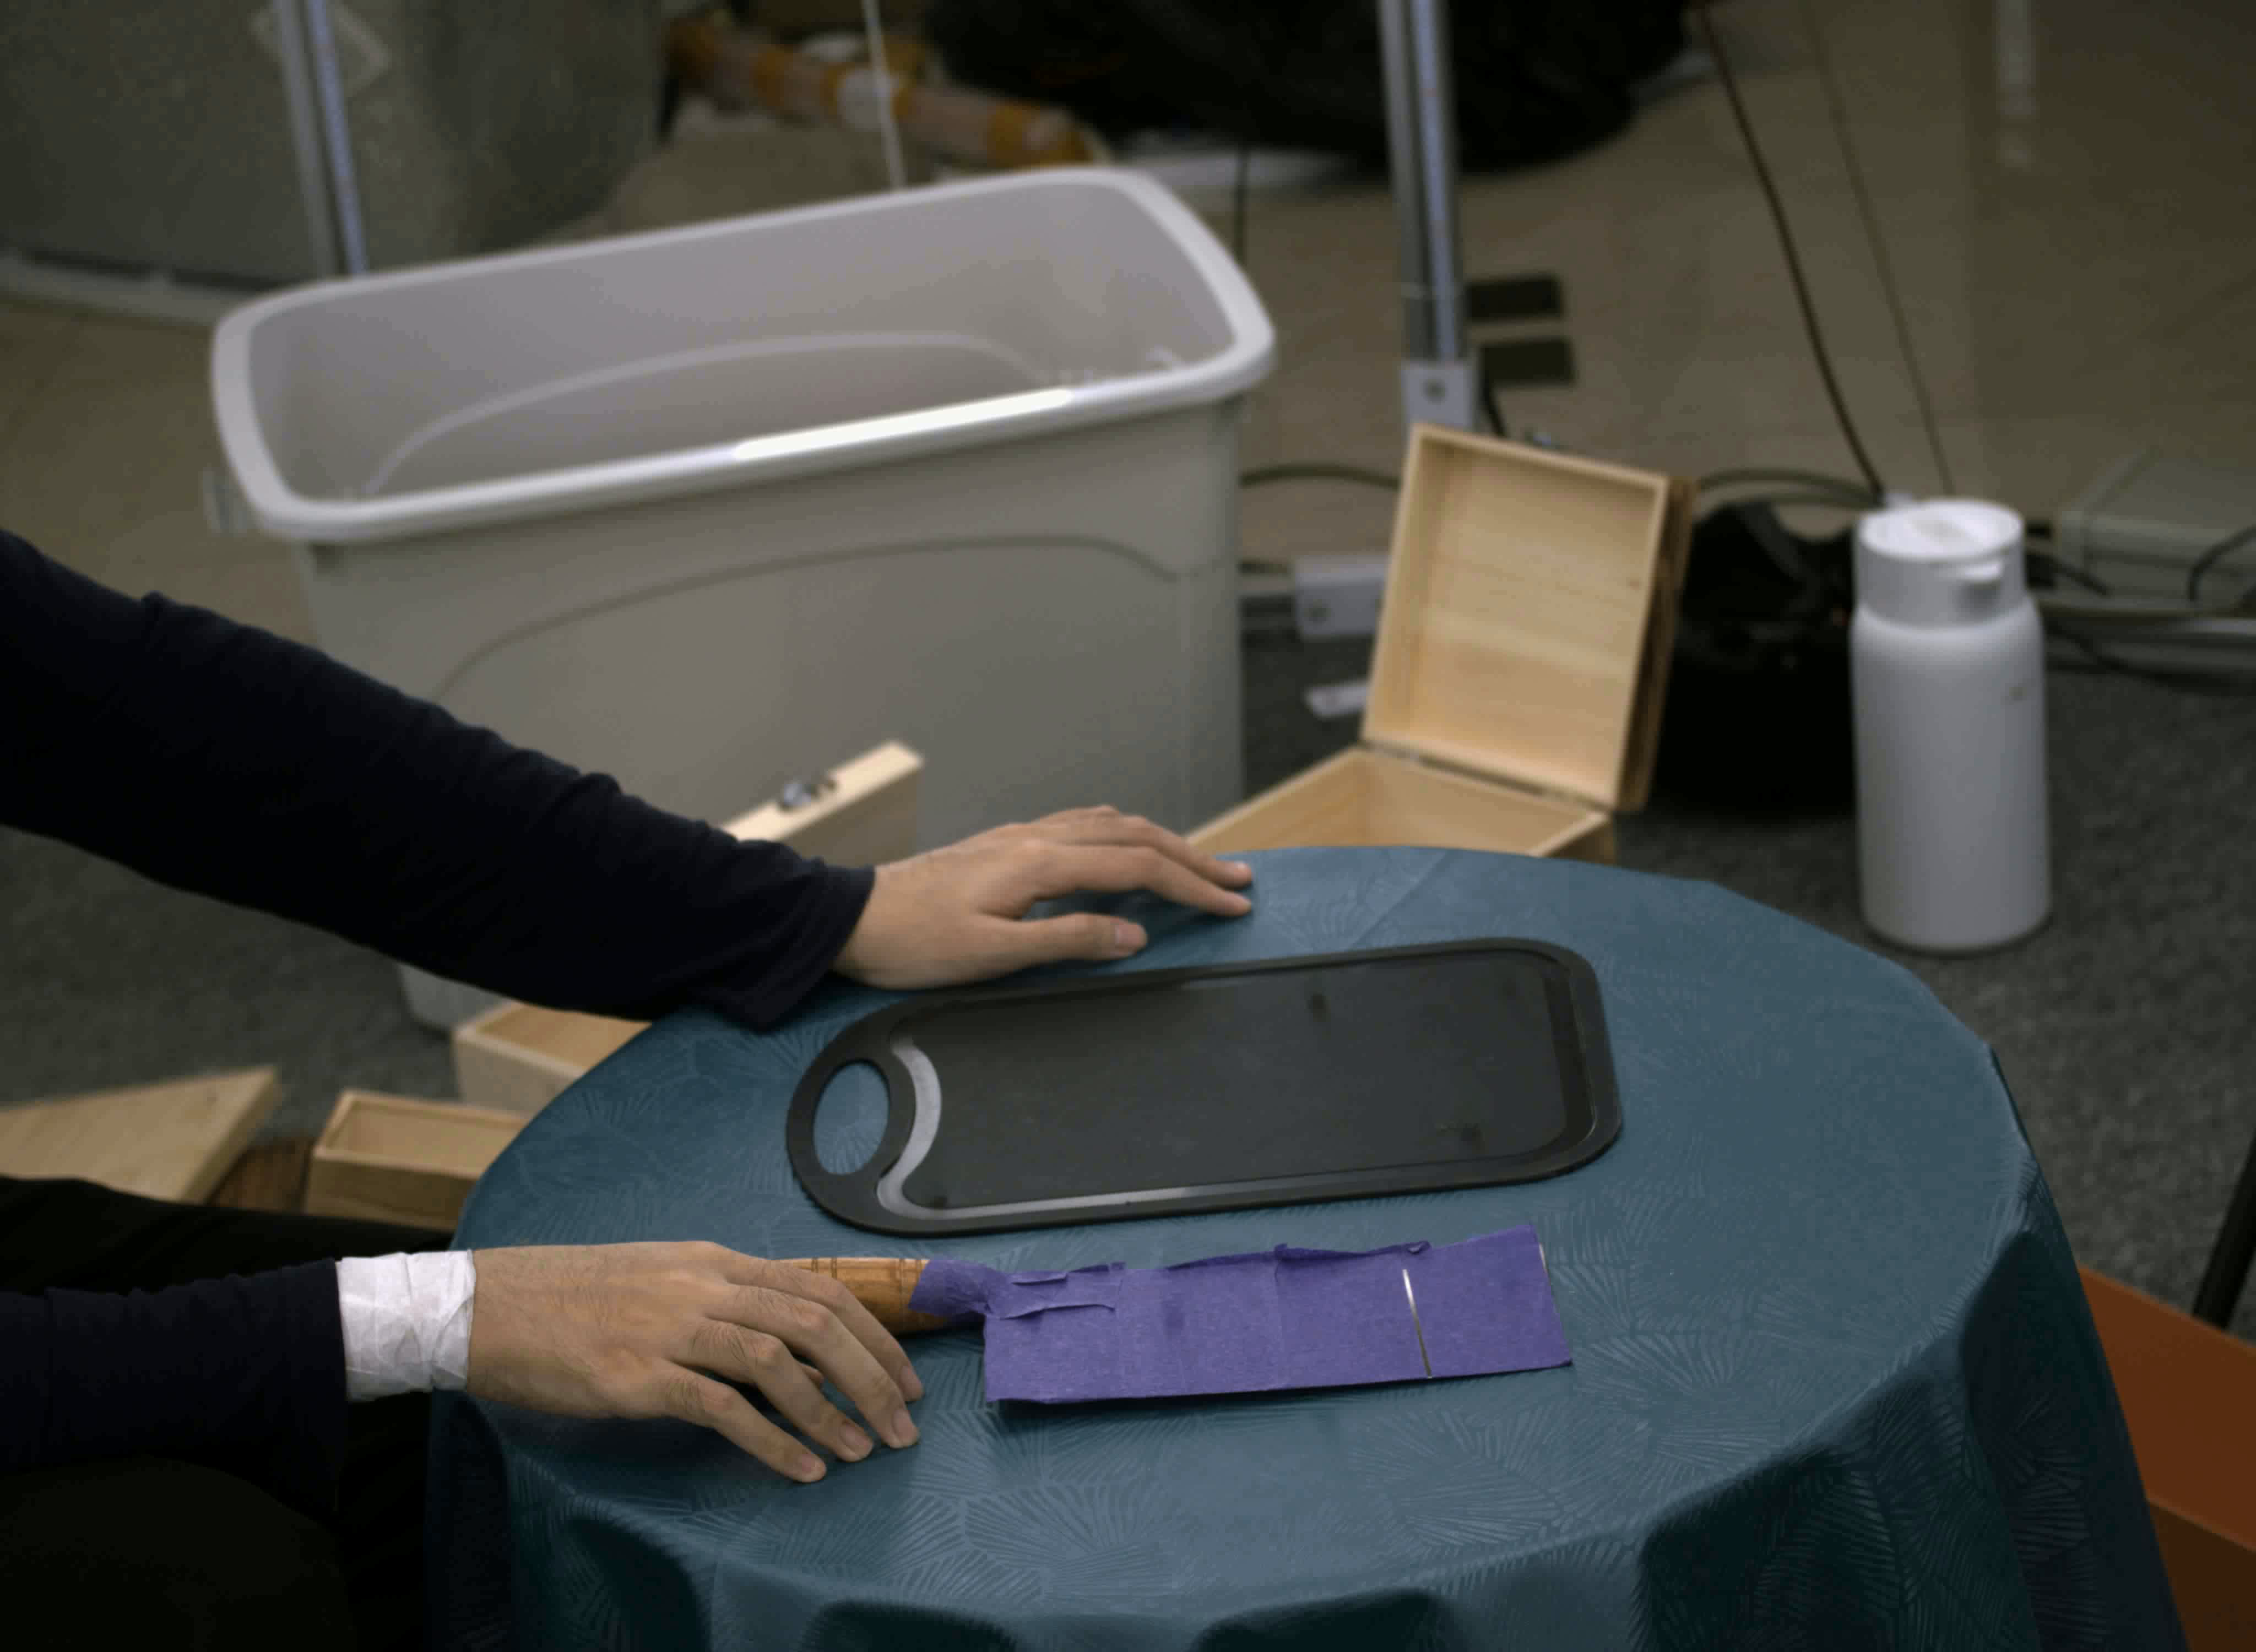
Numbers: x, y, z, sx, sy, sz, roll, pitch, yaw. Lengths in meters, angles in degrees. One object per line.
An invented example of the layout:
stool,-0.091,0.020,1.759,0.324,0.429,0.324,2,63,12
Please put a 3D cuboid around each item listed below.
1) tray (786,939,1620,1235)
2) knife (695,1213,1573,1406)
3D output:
tray,0.027,0.100,2.221,0.325,0.010,0.208,-5,24,3
knife,0.000,0.176,2.038,0.315,0.033,0.102,-6,24,0
